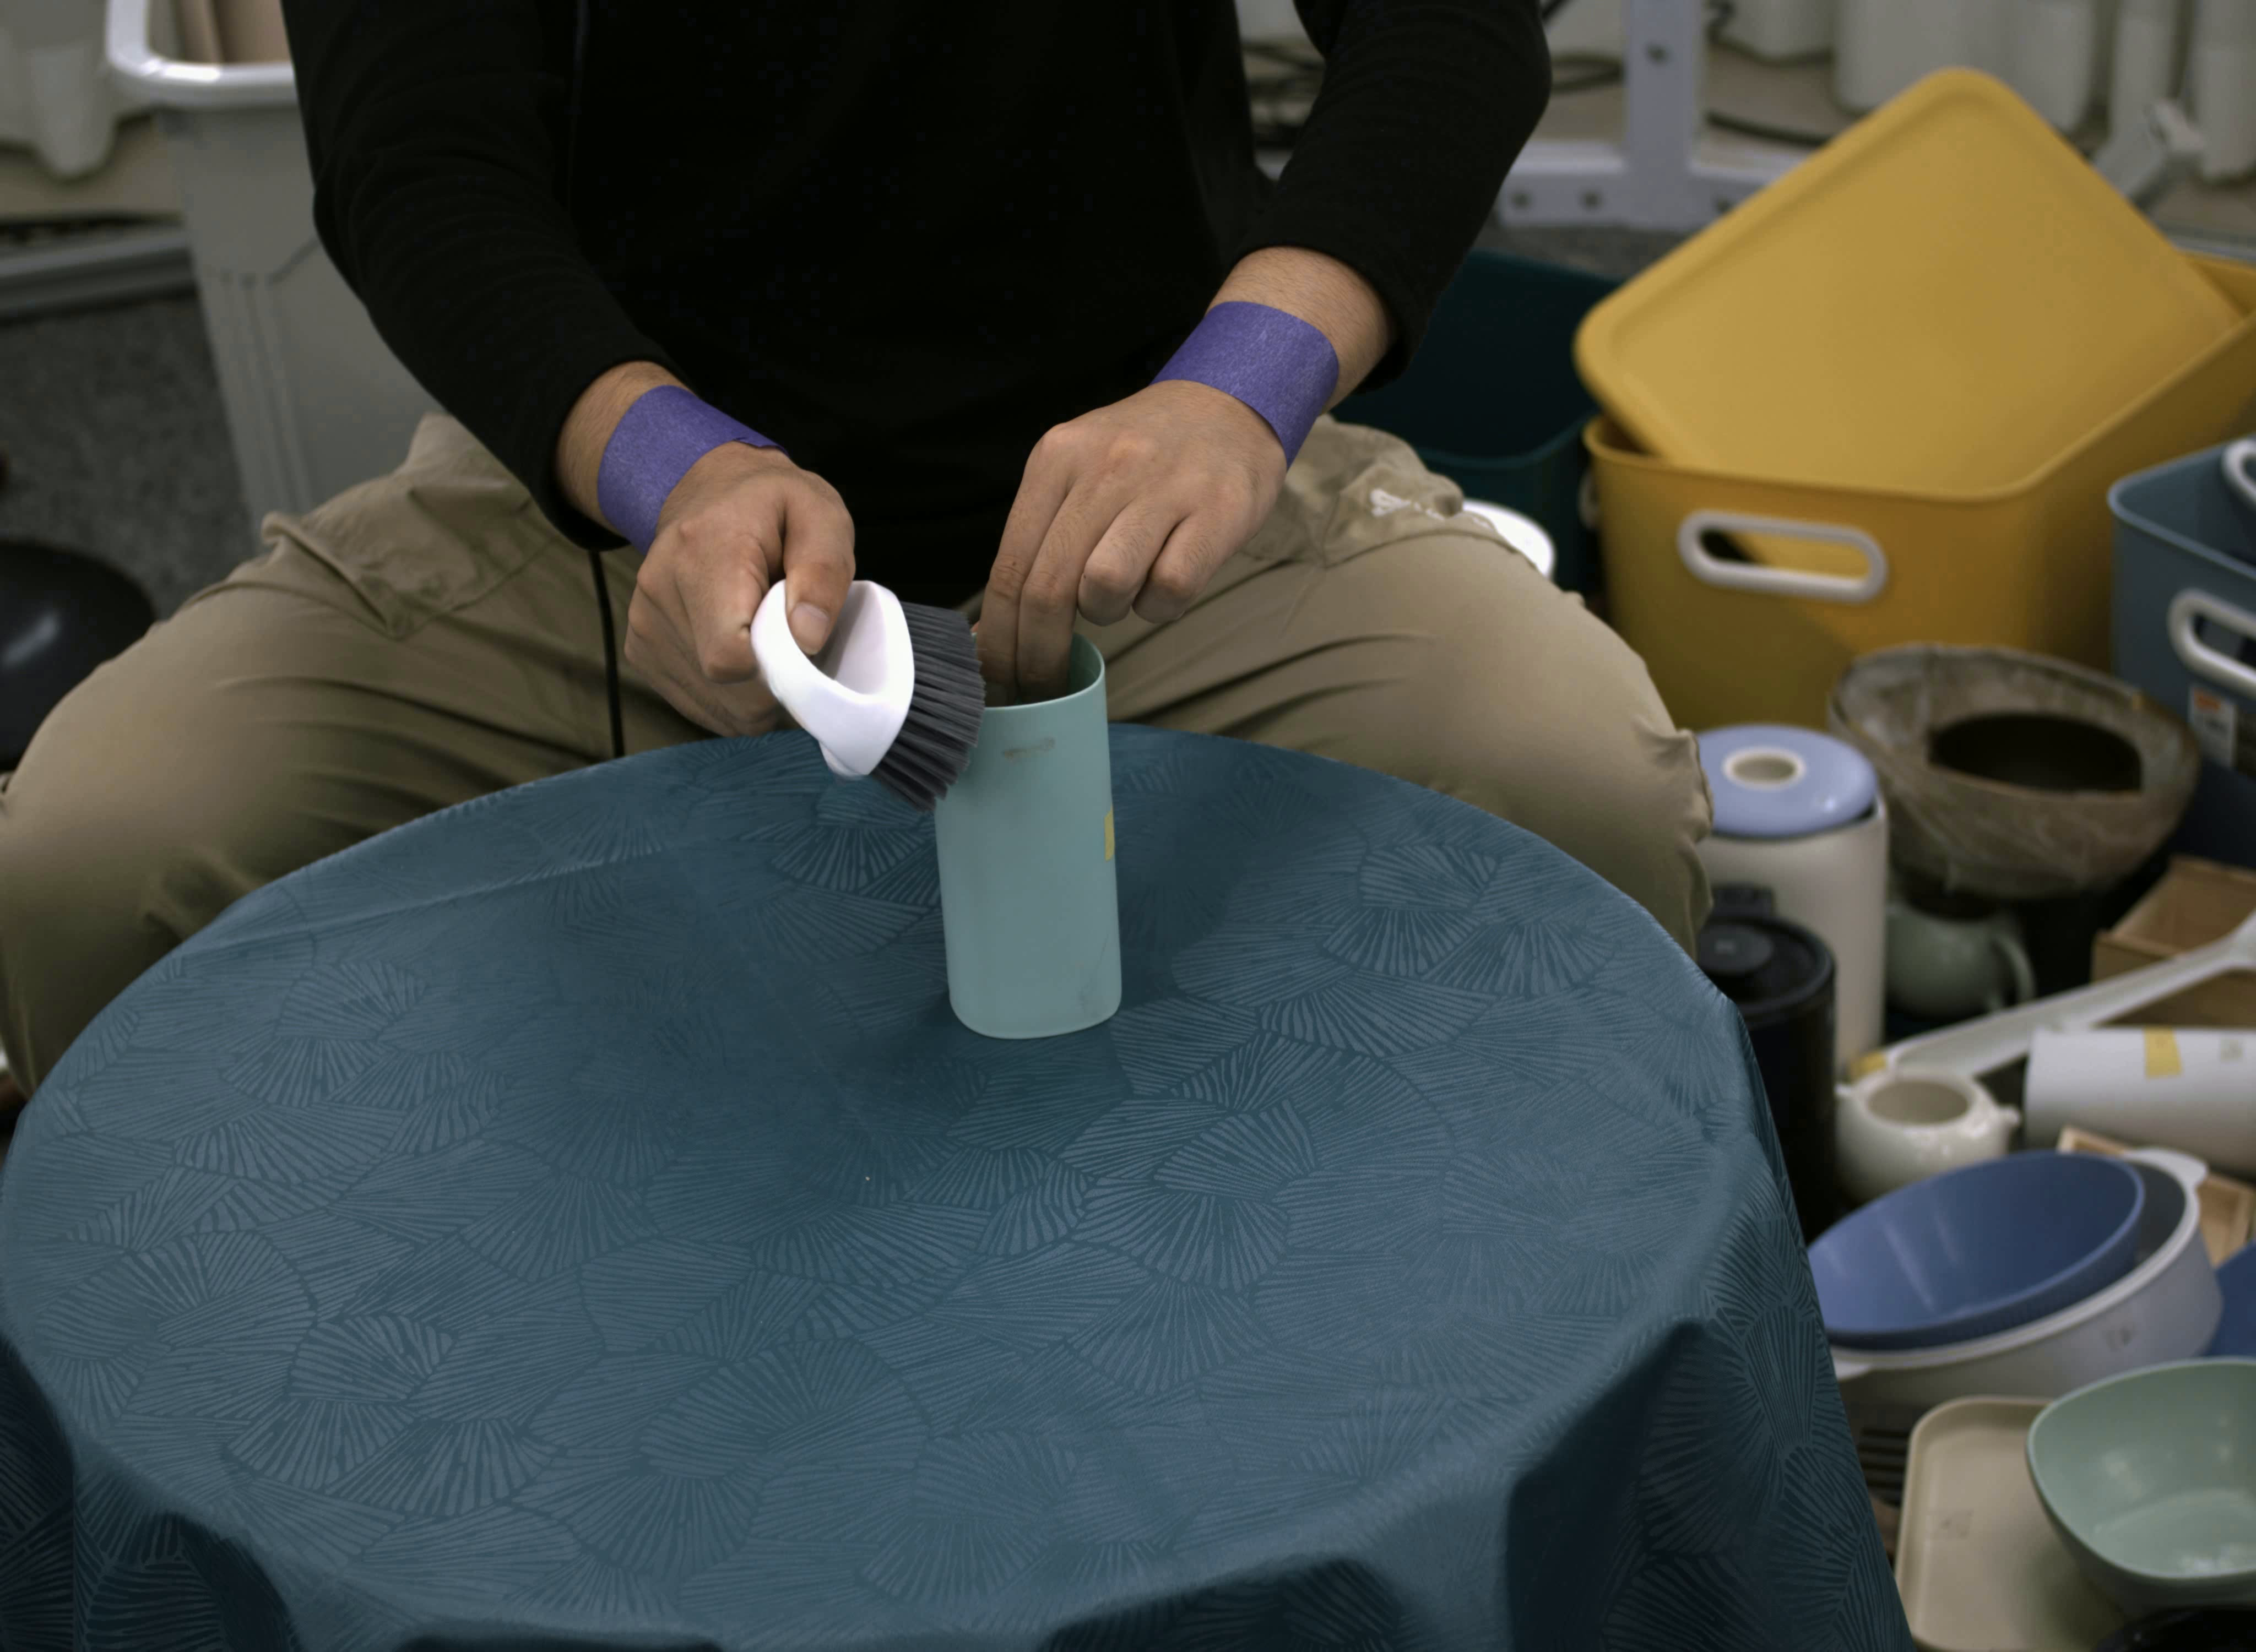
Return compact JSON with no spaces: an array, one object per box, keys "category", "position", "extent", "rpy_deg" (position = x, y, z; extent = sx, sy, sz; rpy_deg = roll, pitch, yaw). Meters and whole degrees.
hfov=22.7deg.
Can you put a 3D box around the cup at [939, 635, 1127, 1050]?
[{"category":"cup","position":[-0.035,0.006,1.955],"extent":[0.066,0.131,0.068],"rpy_deg":[-2,27,2]}]

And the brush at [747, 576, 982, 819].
[{"category":"brush","position":[-0.094,-0.051,1.897],"extent":[0.072,0.050,0.100],"rpy_deg":[25,23,-21]}]
